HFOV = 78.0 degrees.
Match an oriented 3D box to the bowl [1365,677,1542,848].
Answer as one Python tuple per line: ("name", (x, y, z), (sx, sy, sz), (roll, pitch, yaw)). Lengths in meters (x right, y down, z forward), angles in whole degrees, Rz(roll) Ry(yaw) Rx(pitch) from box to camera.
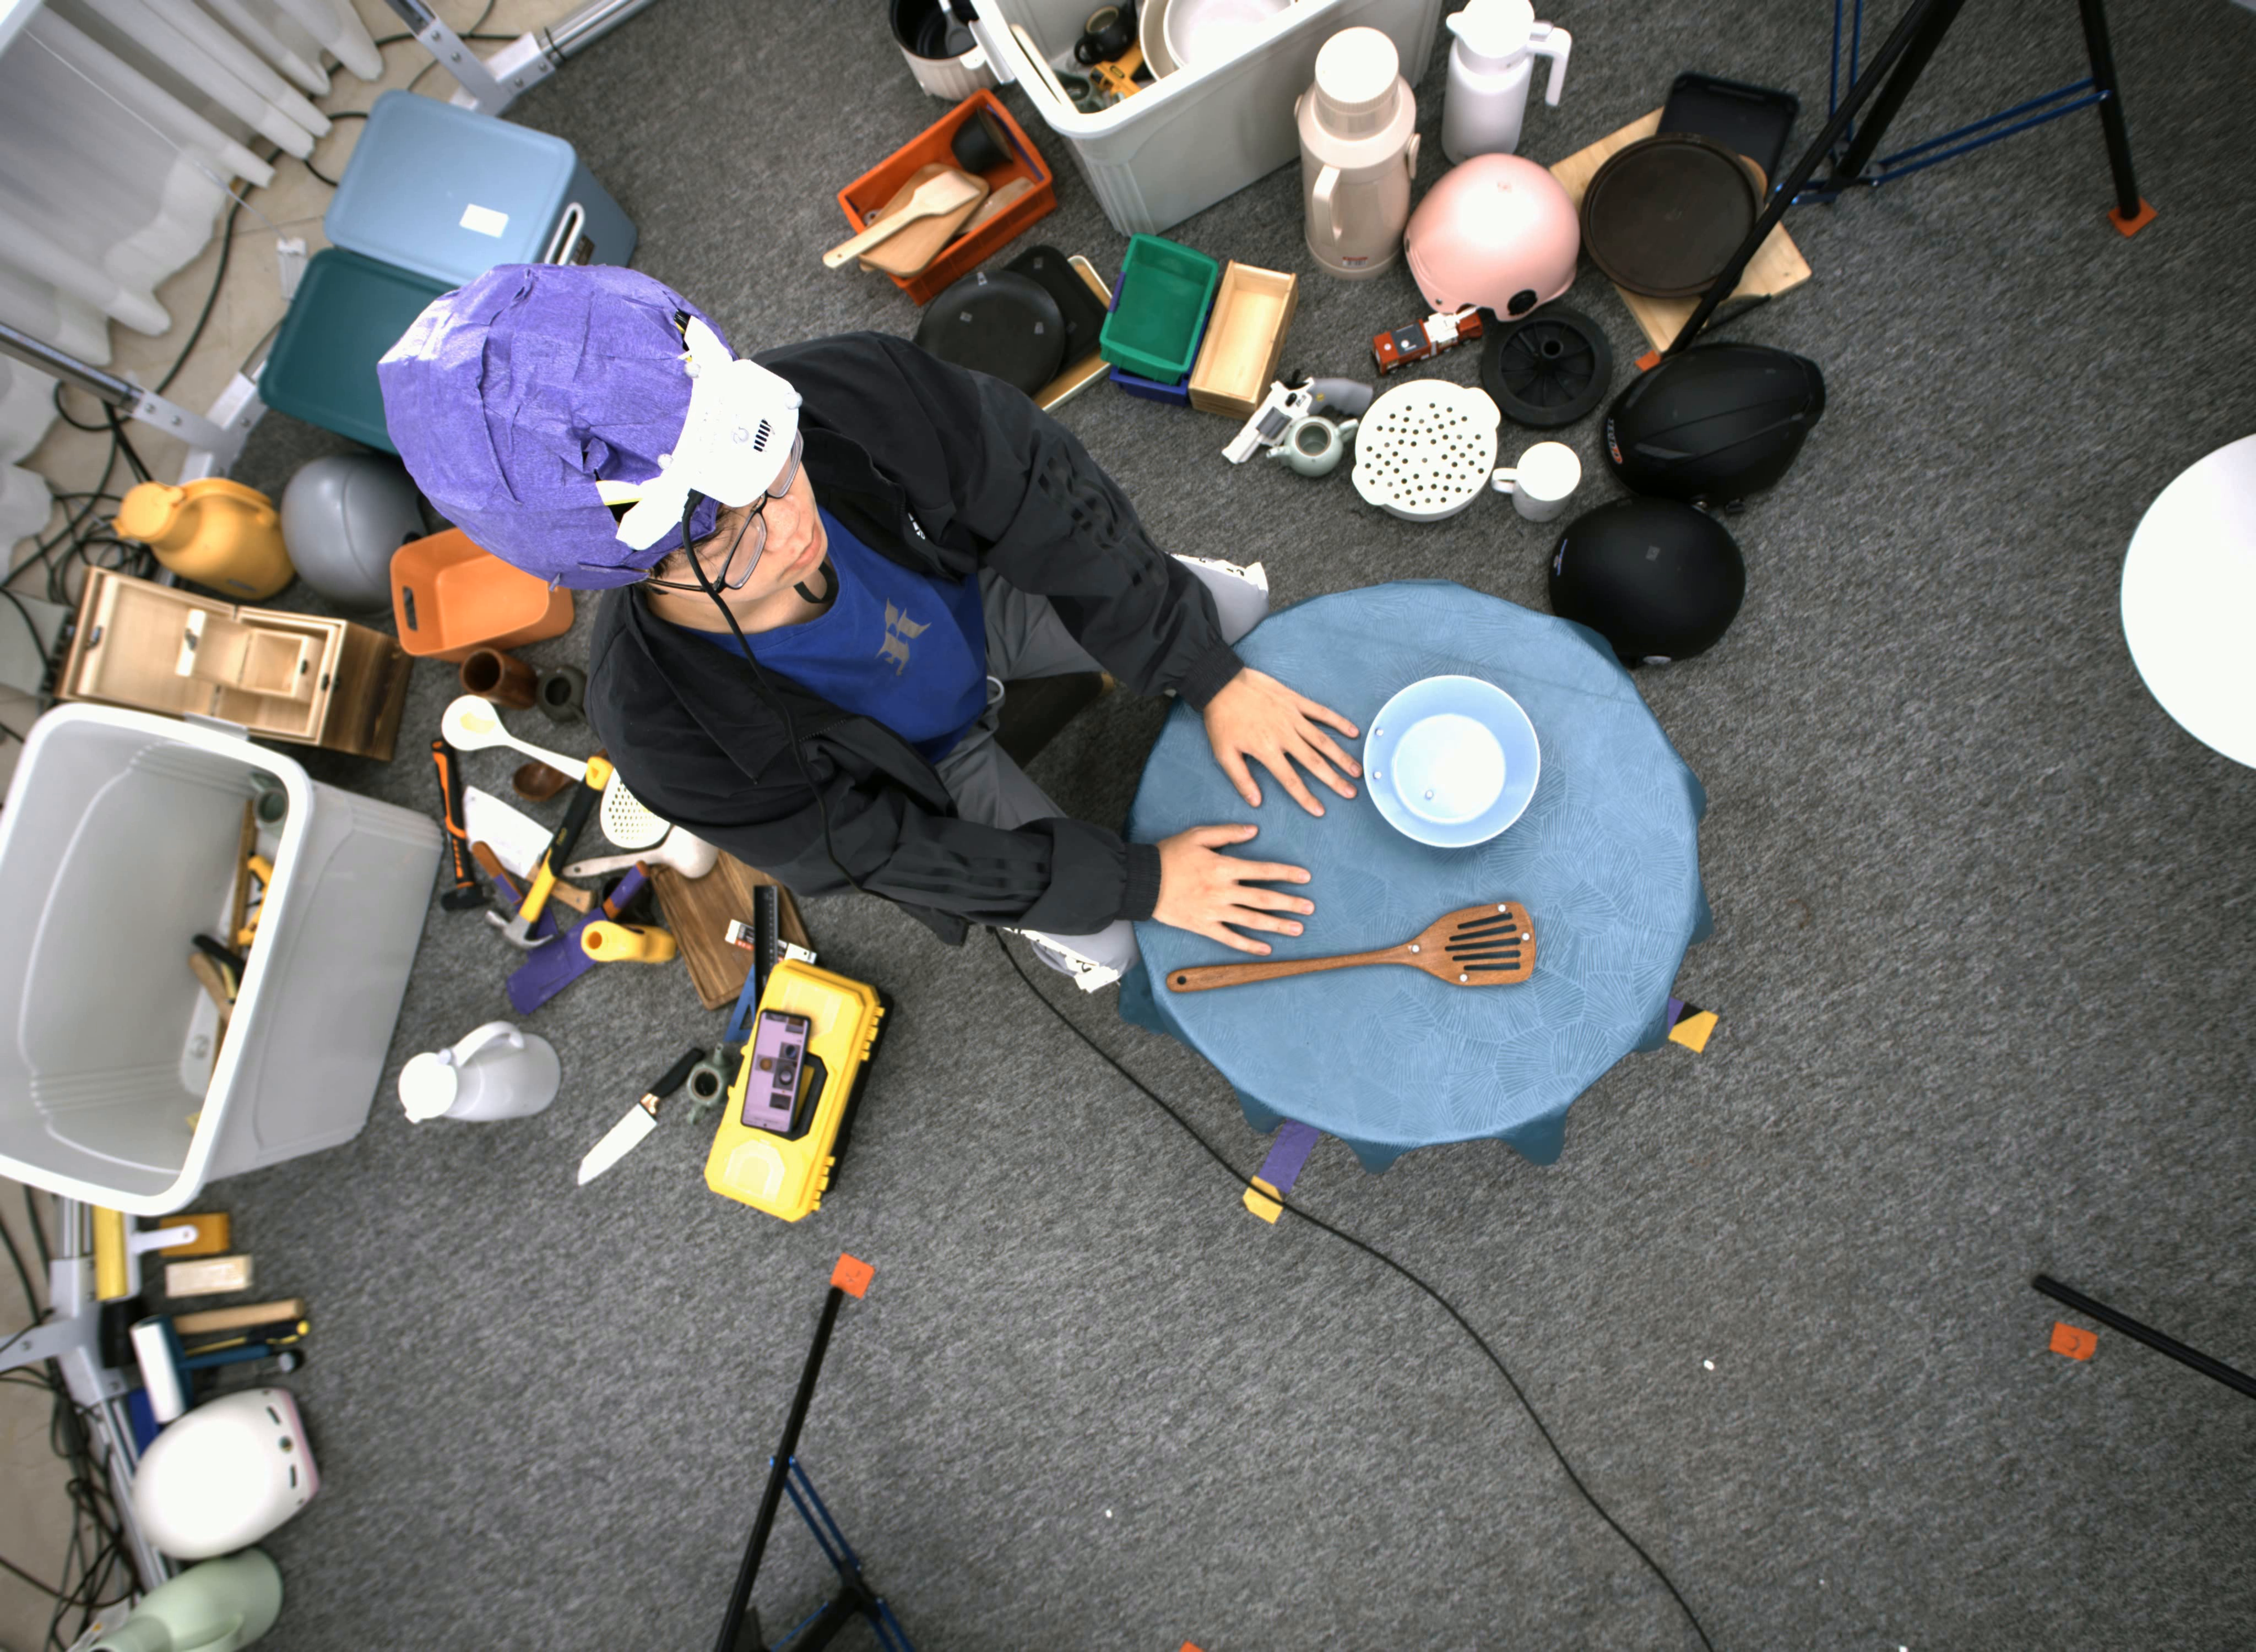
("bowl", (0.334, -0.063, 1.417), (0.177, 0.070, 0.175), (-1, 86, 12))

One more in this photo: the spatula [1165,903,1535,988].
("spatula", (0.228, 0.140, 1.452), (0.389, 0.024, 0.085), (-7, 85, 12))
